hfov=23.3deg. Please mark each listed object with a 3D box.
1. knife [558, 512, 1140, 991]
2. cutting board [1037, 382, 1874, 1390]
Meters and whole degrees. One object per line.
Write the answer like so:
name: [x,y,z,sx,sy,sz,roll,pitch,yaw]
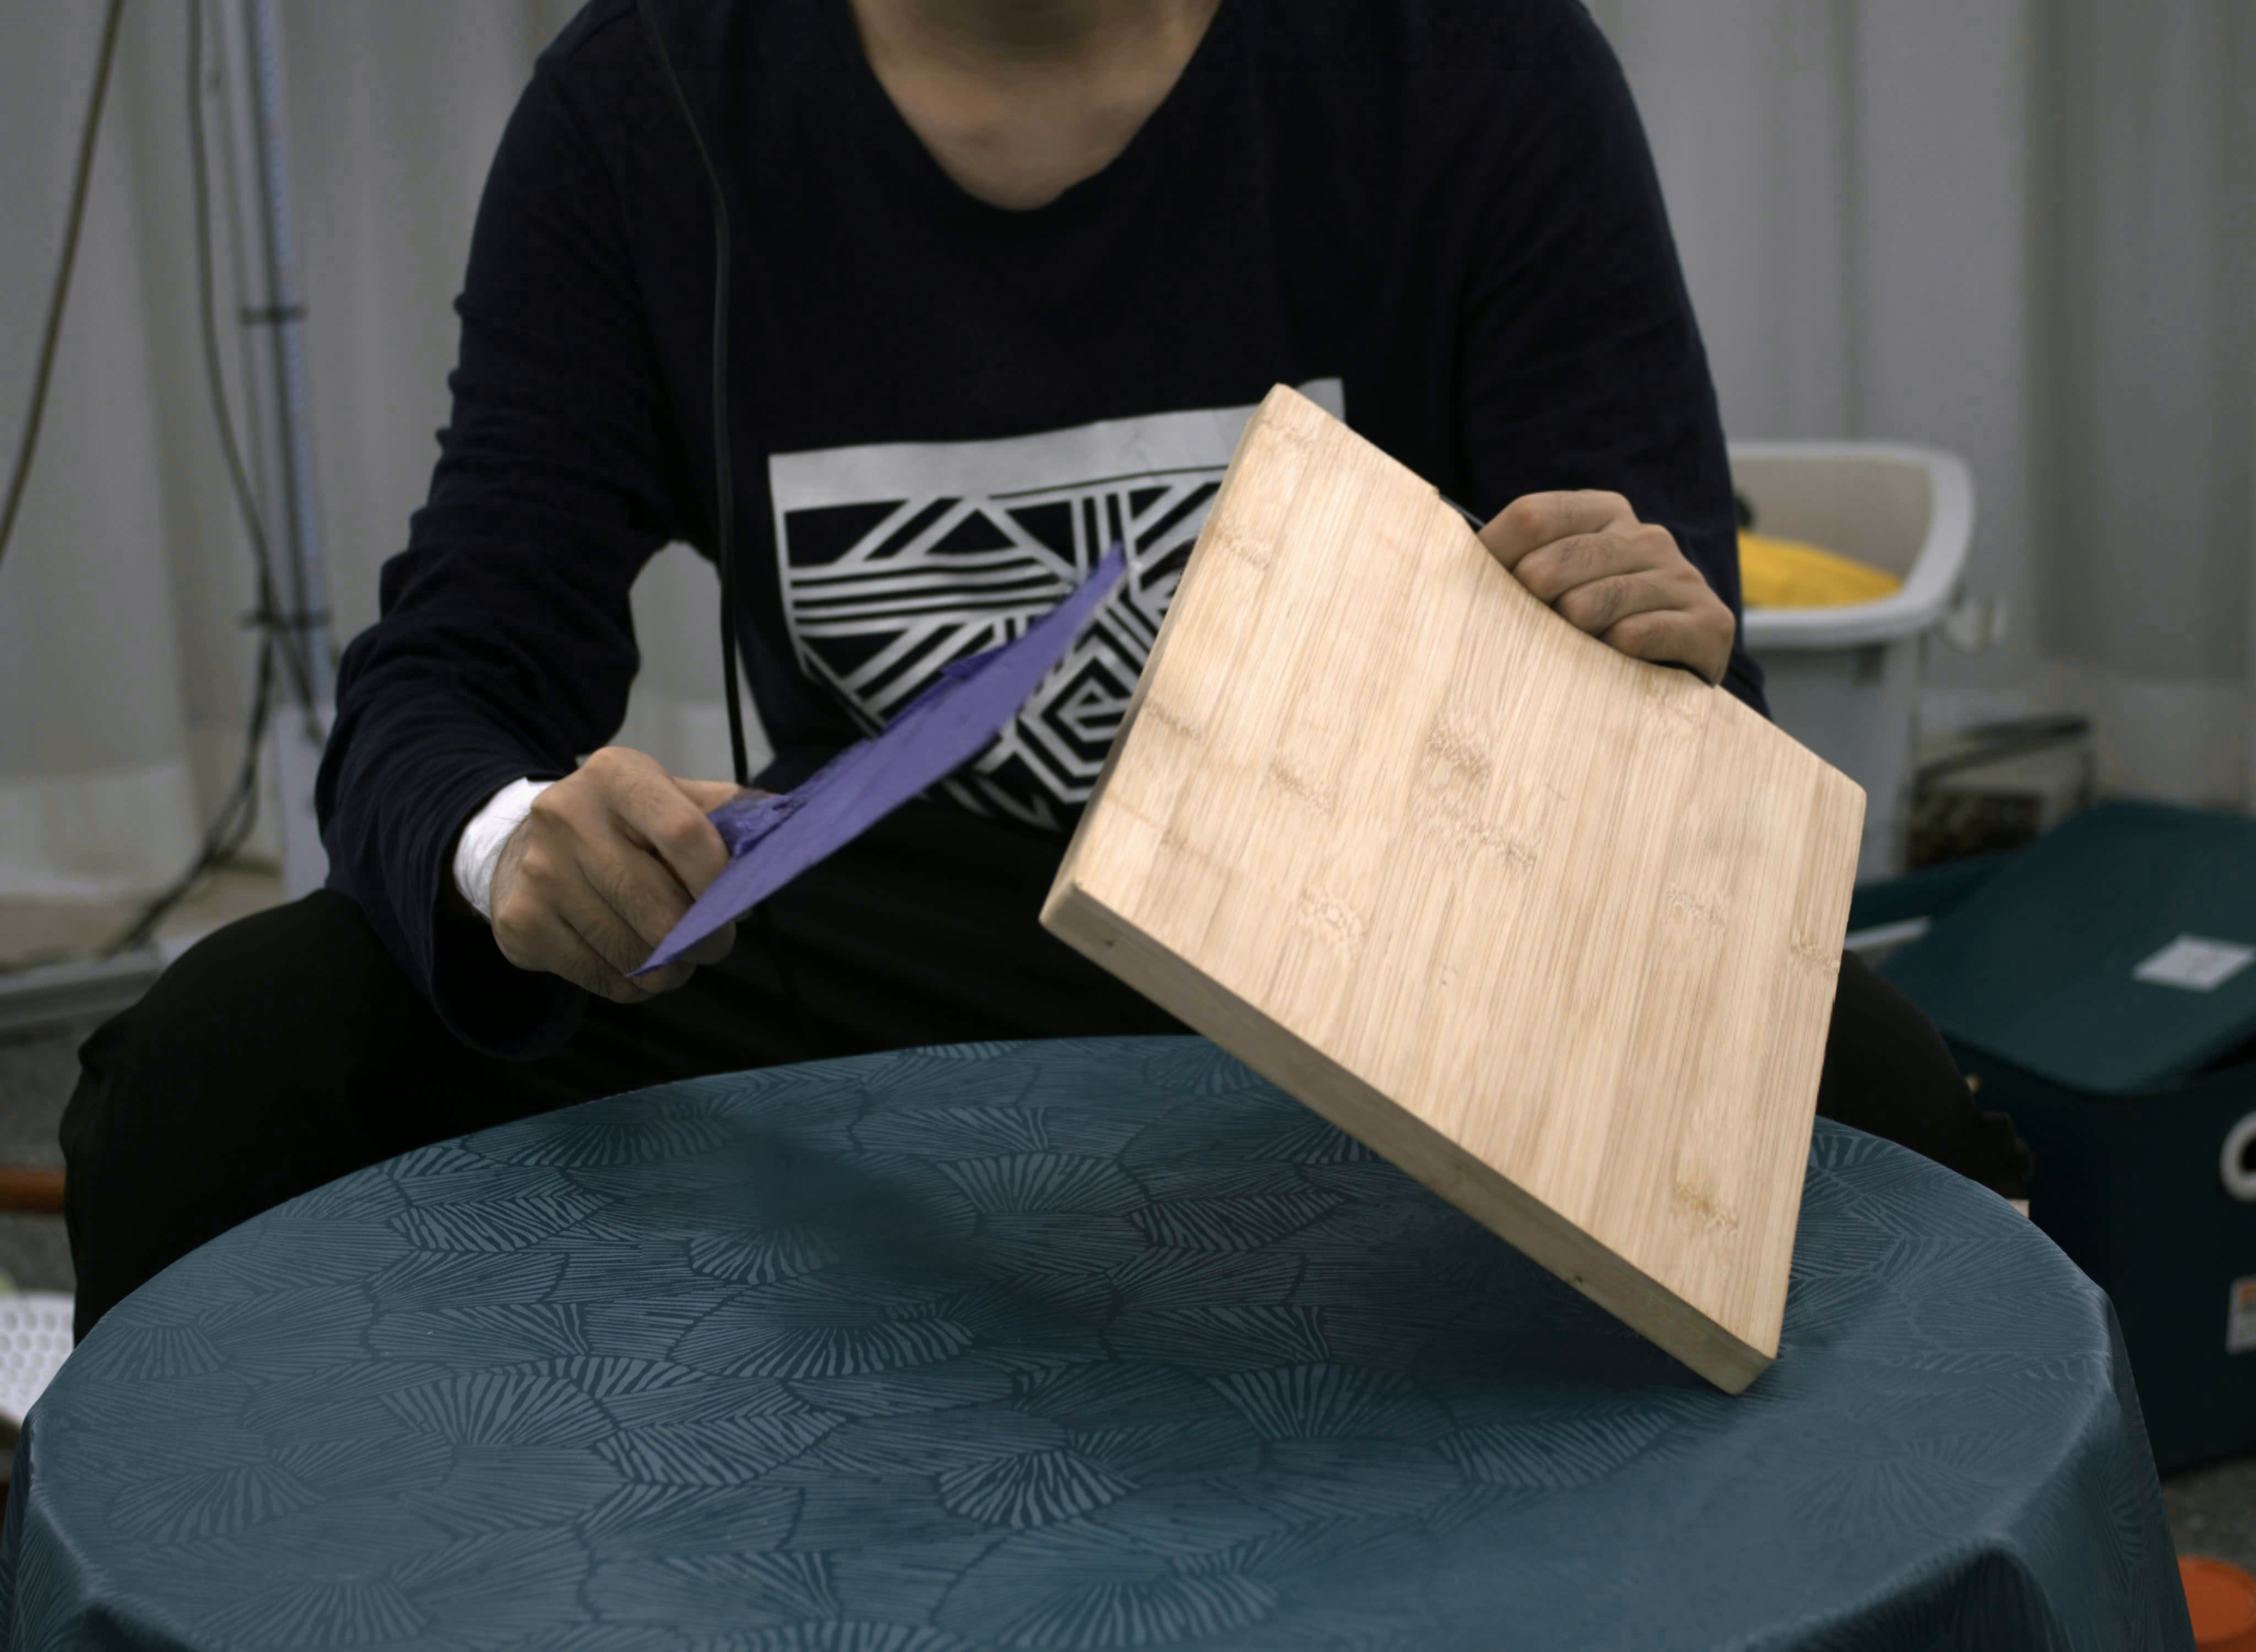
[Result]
knife: [-0.105,-0.002,1.654,0.313,0.032,0.104,-37,10,48]
cutting board: [0.110,0.006,1.654,0.250,0.023,0.352,34,29,-7]
